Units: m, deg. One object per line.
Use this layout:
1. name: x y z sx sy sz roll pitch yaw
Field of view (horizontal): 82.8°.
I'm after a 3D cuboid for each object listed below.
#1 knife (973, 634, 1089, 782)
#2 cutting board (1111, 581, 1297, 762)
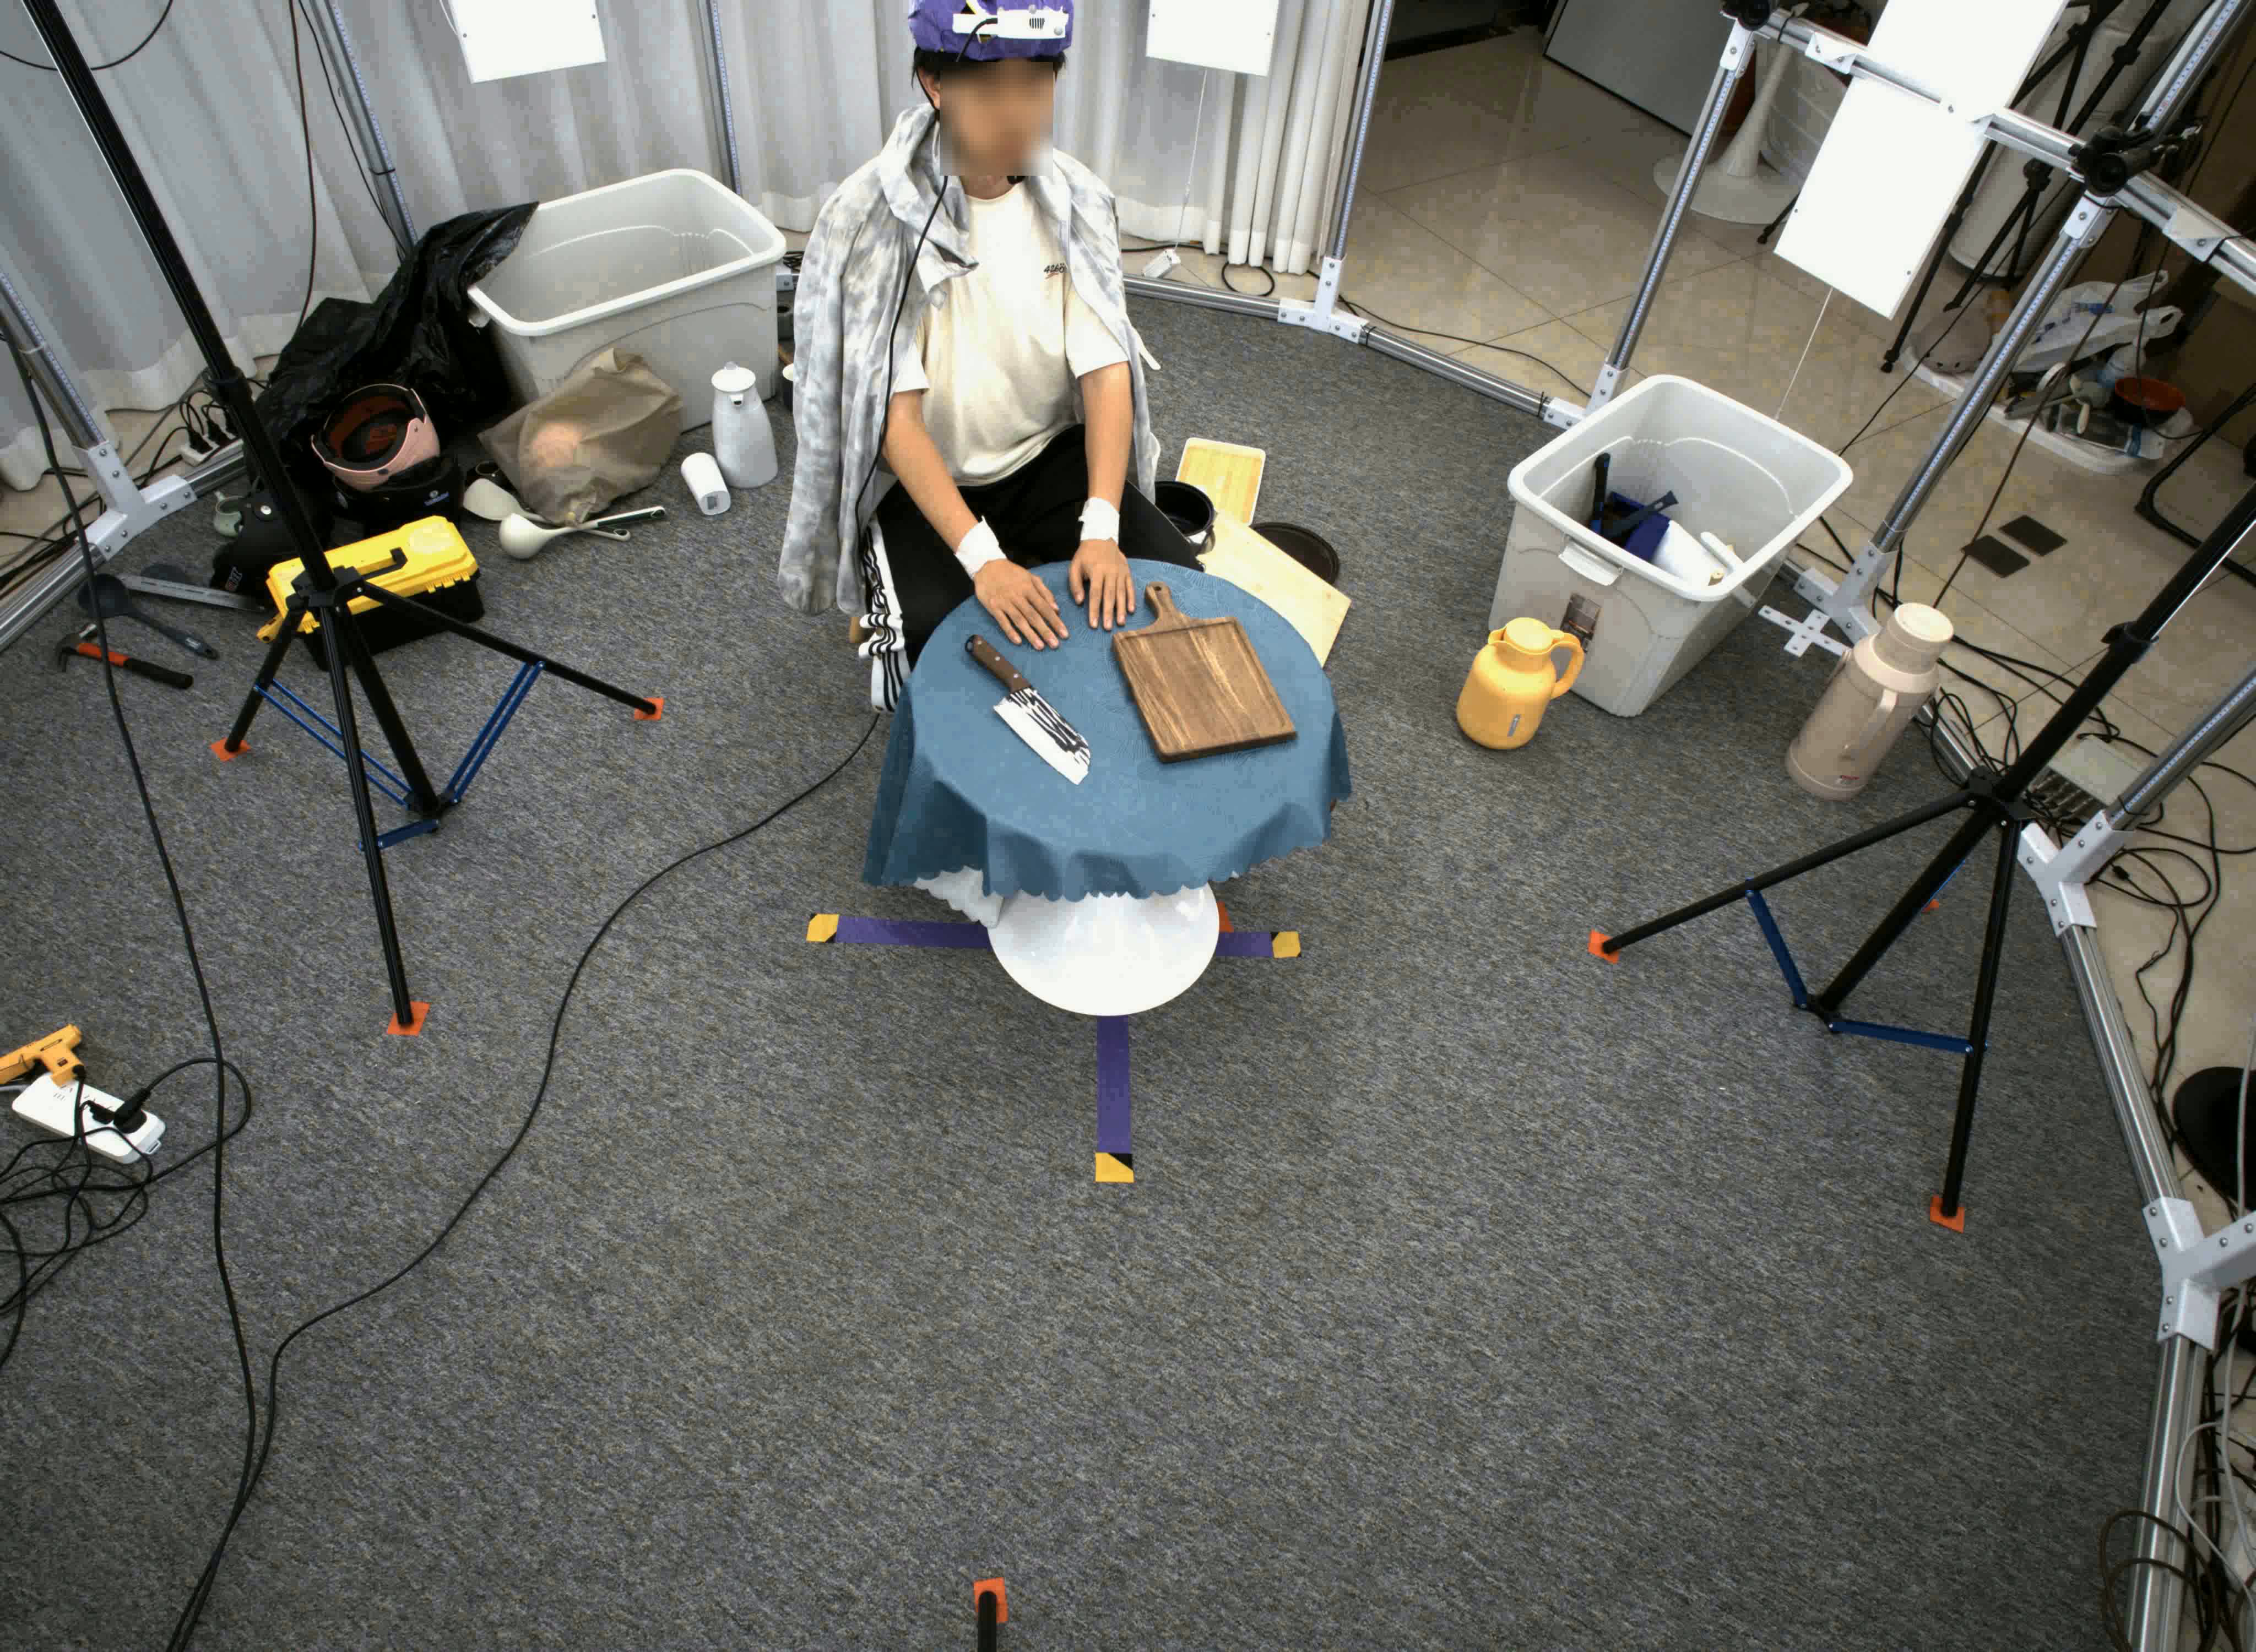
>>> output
1. knife: -0.144 -0.166 1.783 0.068 0.023 0.305 -30 59 -24
2. cutting board: 0.090 -0.239 1.861 0.201 0.022 0.361 -11 50 -13
